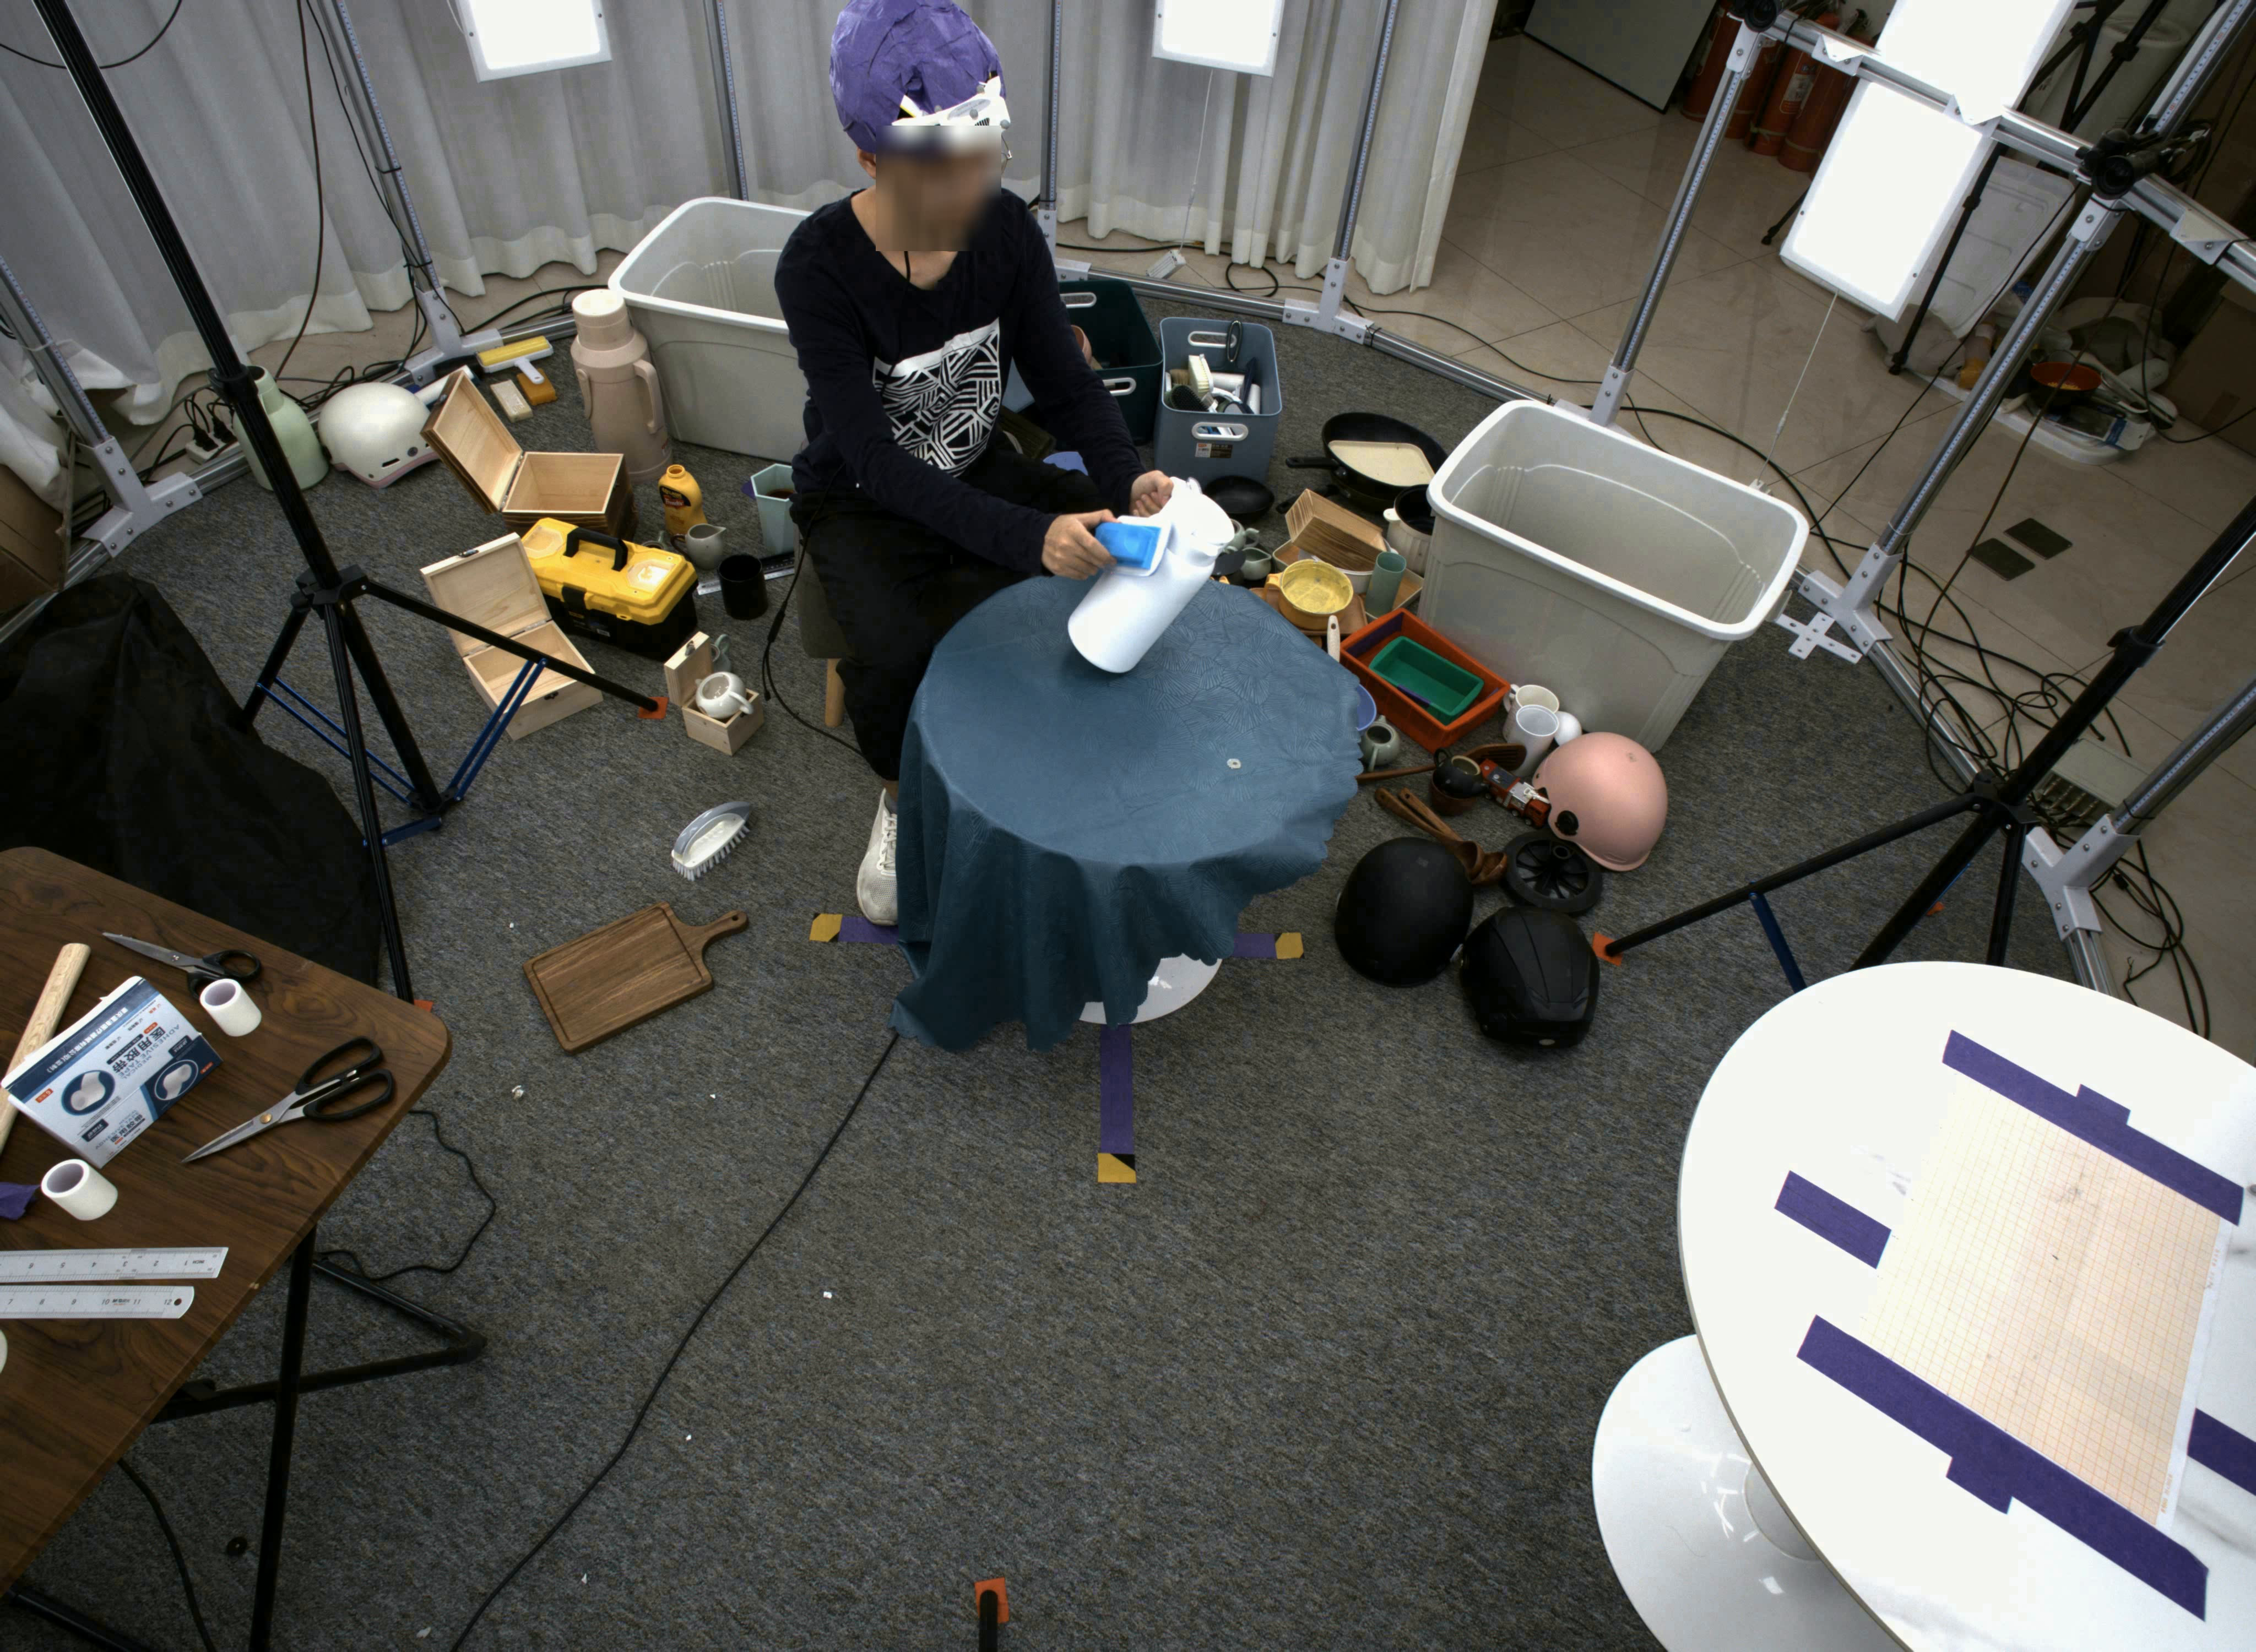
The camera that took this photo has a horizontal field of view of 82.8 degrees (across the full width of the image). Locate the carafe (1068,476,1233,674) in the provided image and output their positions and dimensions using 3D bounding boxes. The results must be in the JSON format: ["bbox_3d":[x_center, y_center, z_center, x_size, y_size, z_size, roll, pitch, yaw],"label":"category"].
[{"bbox_3d":[0.025,-0.352,1.792,0.123,0.264,0.177,11,47,-31],"label":"carafe"}]

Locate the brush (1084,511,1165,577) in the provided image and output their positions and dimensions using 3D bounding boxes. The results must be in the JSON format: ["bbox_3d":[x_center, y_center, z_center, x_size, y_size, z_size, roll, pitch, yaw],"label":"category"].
[{"bbox_3d":[-0.012,-0.378,1.702,0.055,0.083,0.146,18,6,-35],"label":"brush"}]
